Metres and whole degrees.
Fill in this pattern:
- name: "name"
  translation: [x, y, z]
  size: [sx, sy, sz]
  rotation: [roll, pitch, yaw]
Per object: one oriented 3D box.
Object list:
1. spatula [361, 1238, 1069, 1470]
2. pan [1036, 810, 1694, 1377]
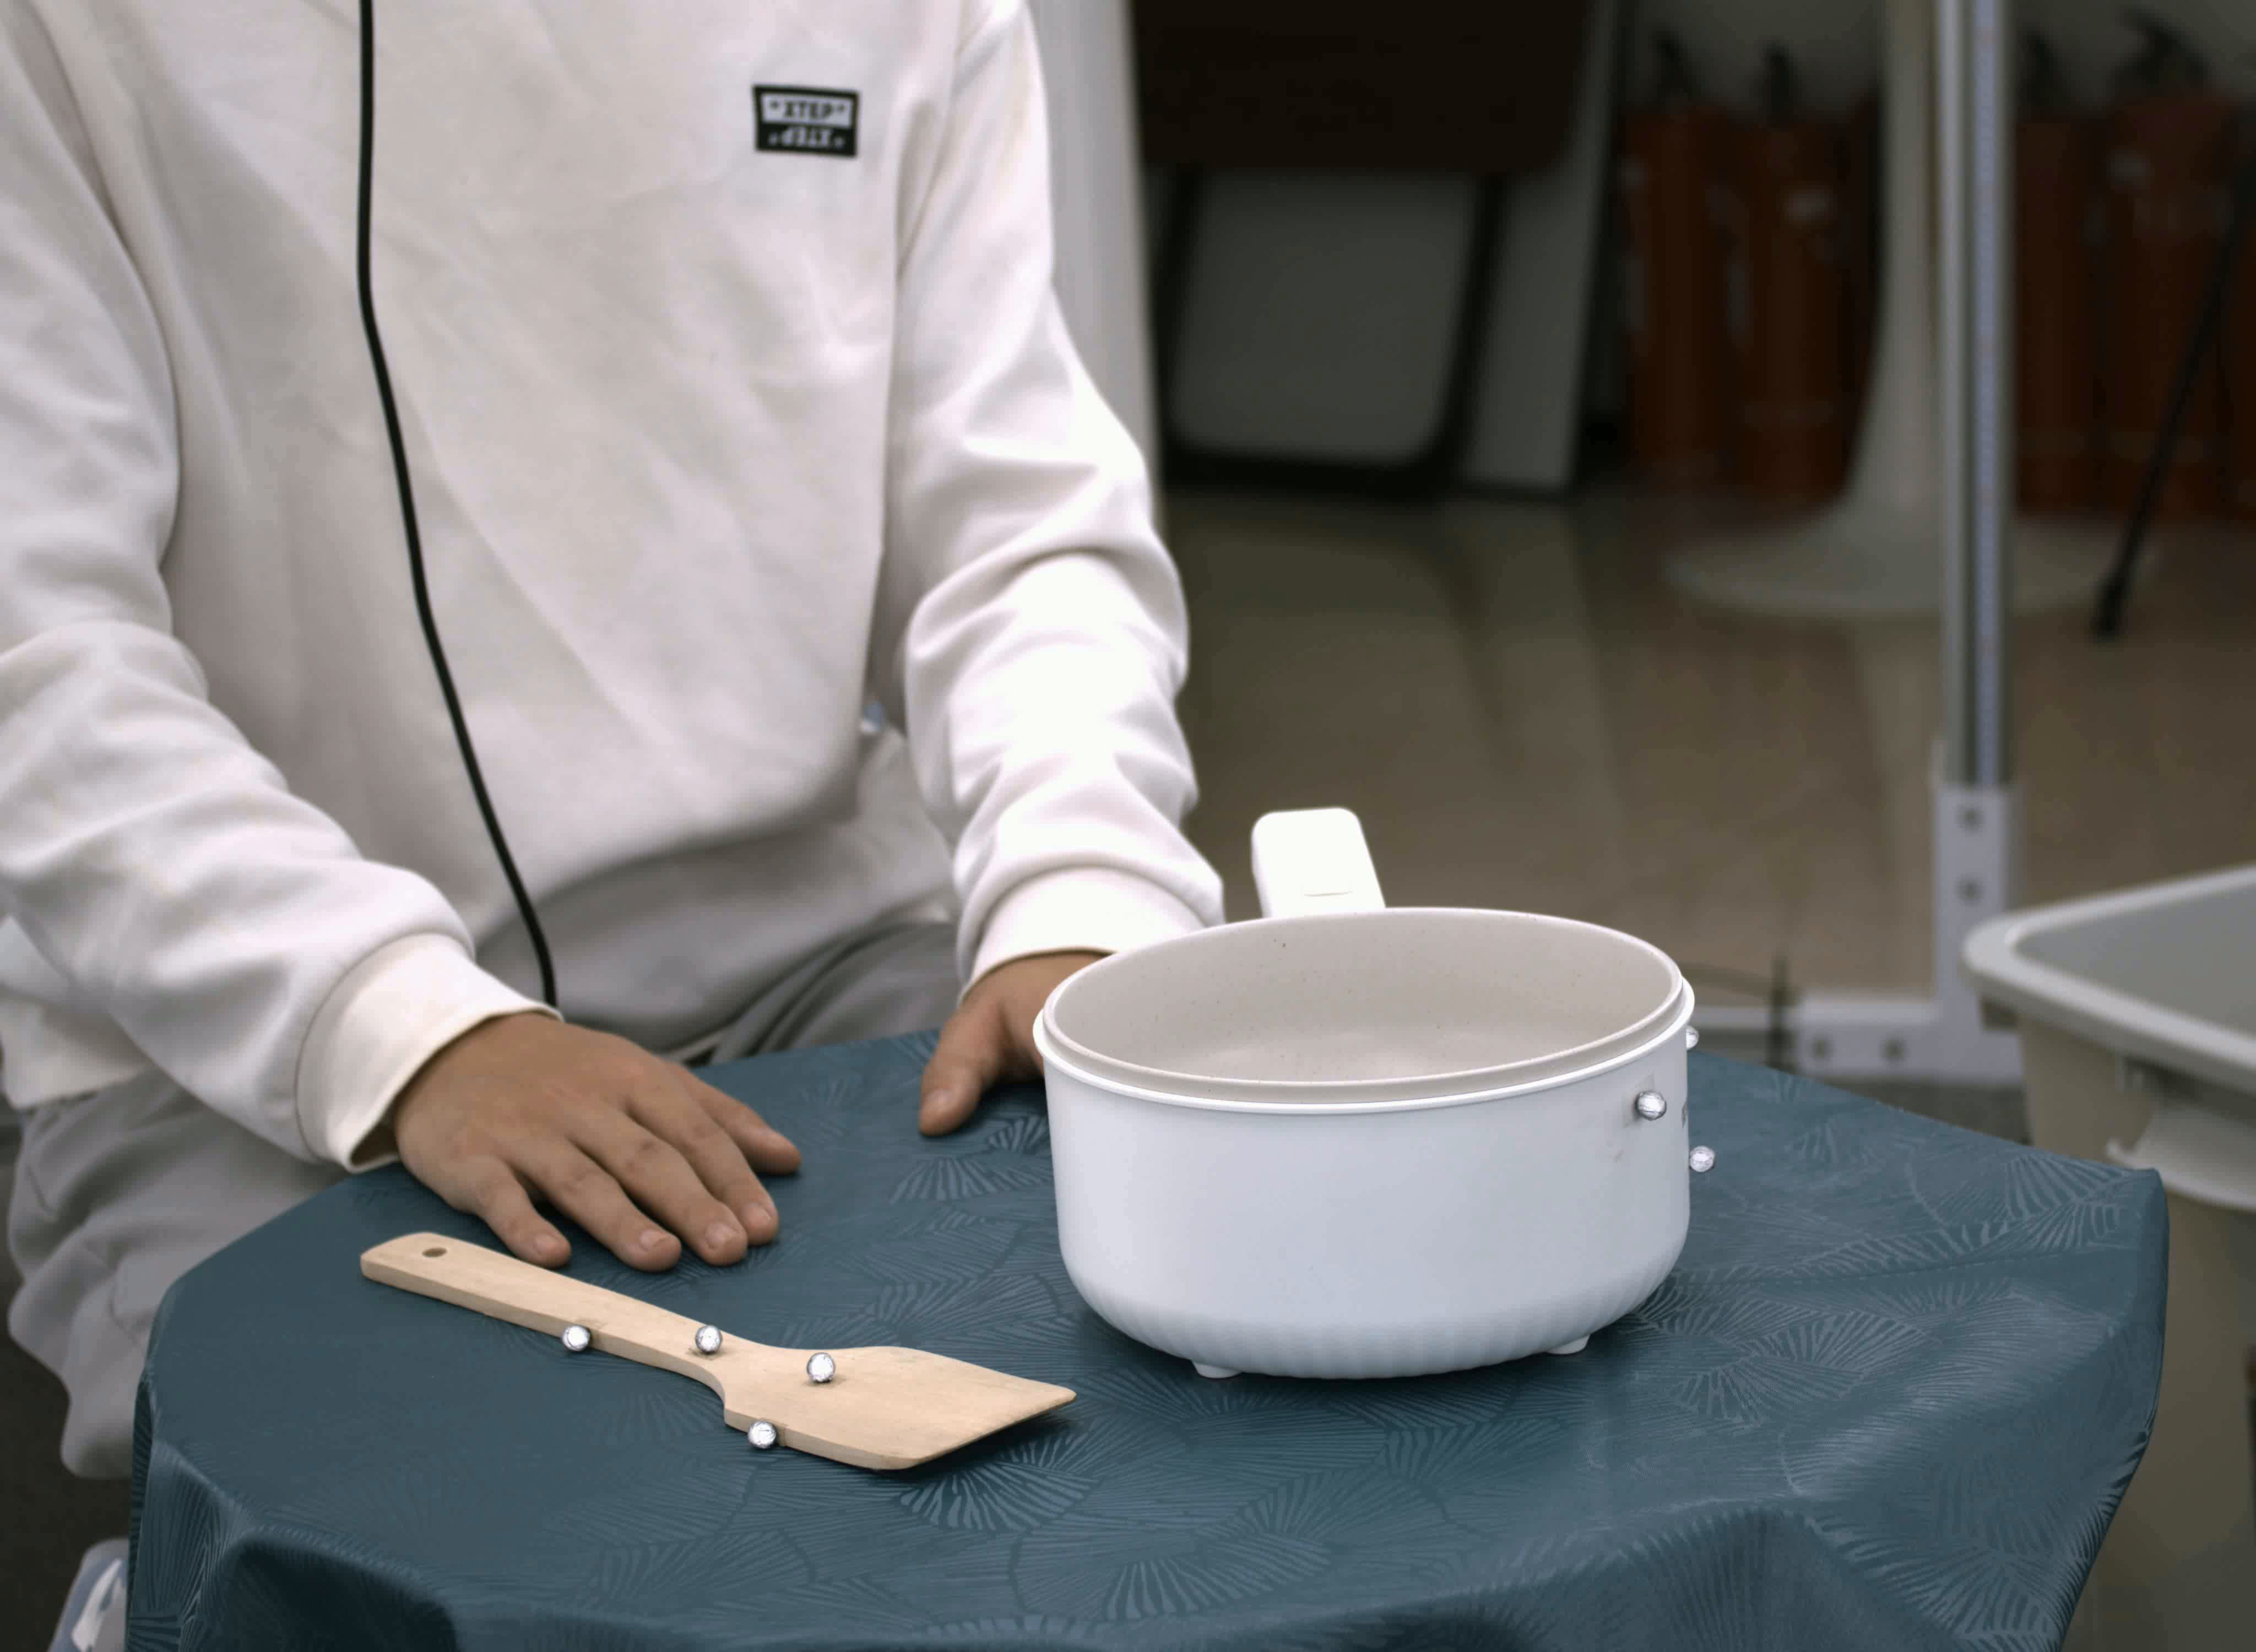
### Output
- name: "spatula"
  translation: [-0.140, 0.158, 1.646]
  size: [0.071, 0.011, 0.296]
  rotation: [-17, 19, -41]
- name: "pan"
  translation: [0.071, 0.080, 1.710]
  size: [0.198, 0.103, 0.355]
  rotation: [-4, 13, -1]
